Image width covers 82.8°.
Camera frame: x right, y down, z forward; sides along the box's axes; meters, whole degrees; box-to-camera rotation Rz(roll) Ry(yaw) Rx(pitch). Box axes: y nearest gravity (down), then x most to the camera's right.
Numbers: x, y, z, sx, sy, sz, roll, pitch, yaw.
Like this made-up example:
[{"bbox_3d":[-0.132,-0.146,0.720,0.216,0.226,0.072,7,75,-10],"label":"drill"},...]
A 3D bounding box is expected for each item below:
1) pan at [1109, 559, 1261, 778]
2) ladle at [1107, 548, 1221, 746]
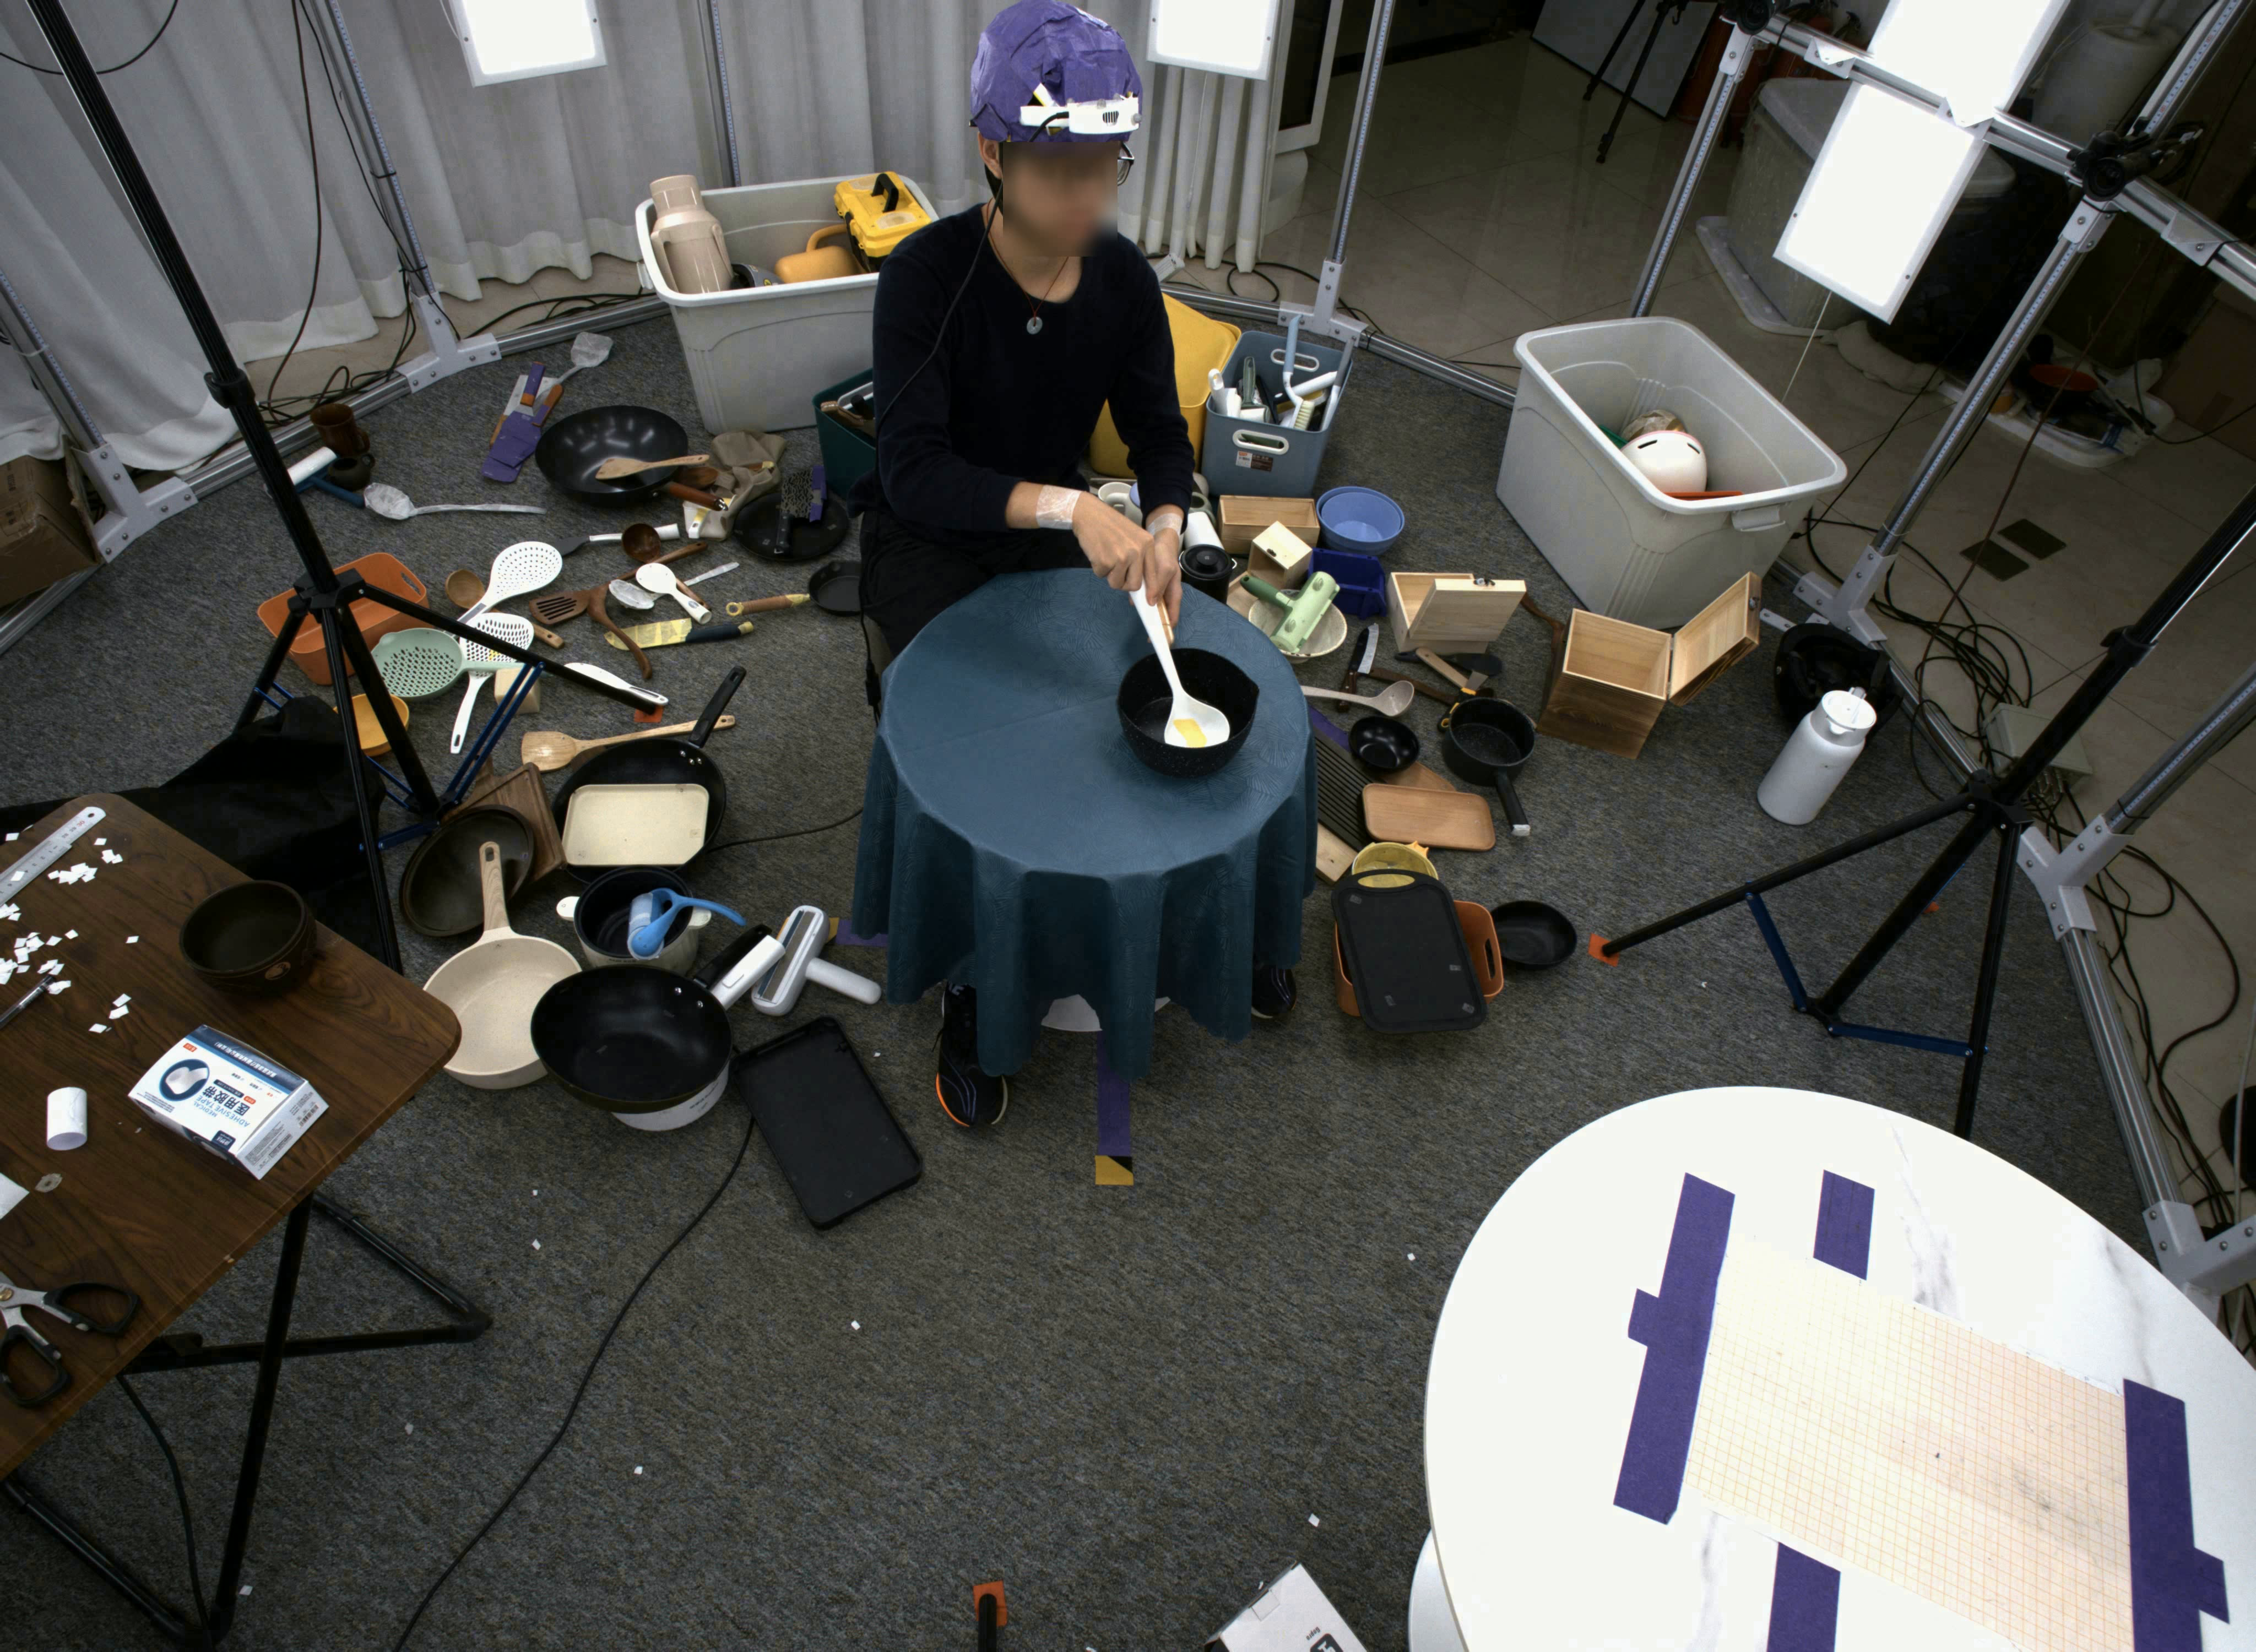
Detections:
[{"bbox_3d":[0.059,-0.218,1.785,0.207,0.105,0.351,-10,54,-10],"label":"pan"},{"bbox_3d":[0.041,-0.228,1.718,0.090,0.289,0.071,-21,15,5],"label":"ladle"}]
